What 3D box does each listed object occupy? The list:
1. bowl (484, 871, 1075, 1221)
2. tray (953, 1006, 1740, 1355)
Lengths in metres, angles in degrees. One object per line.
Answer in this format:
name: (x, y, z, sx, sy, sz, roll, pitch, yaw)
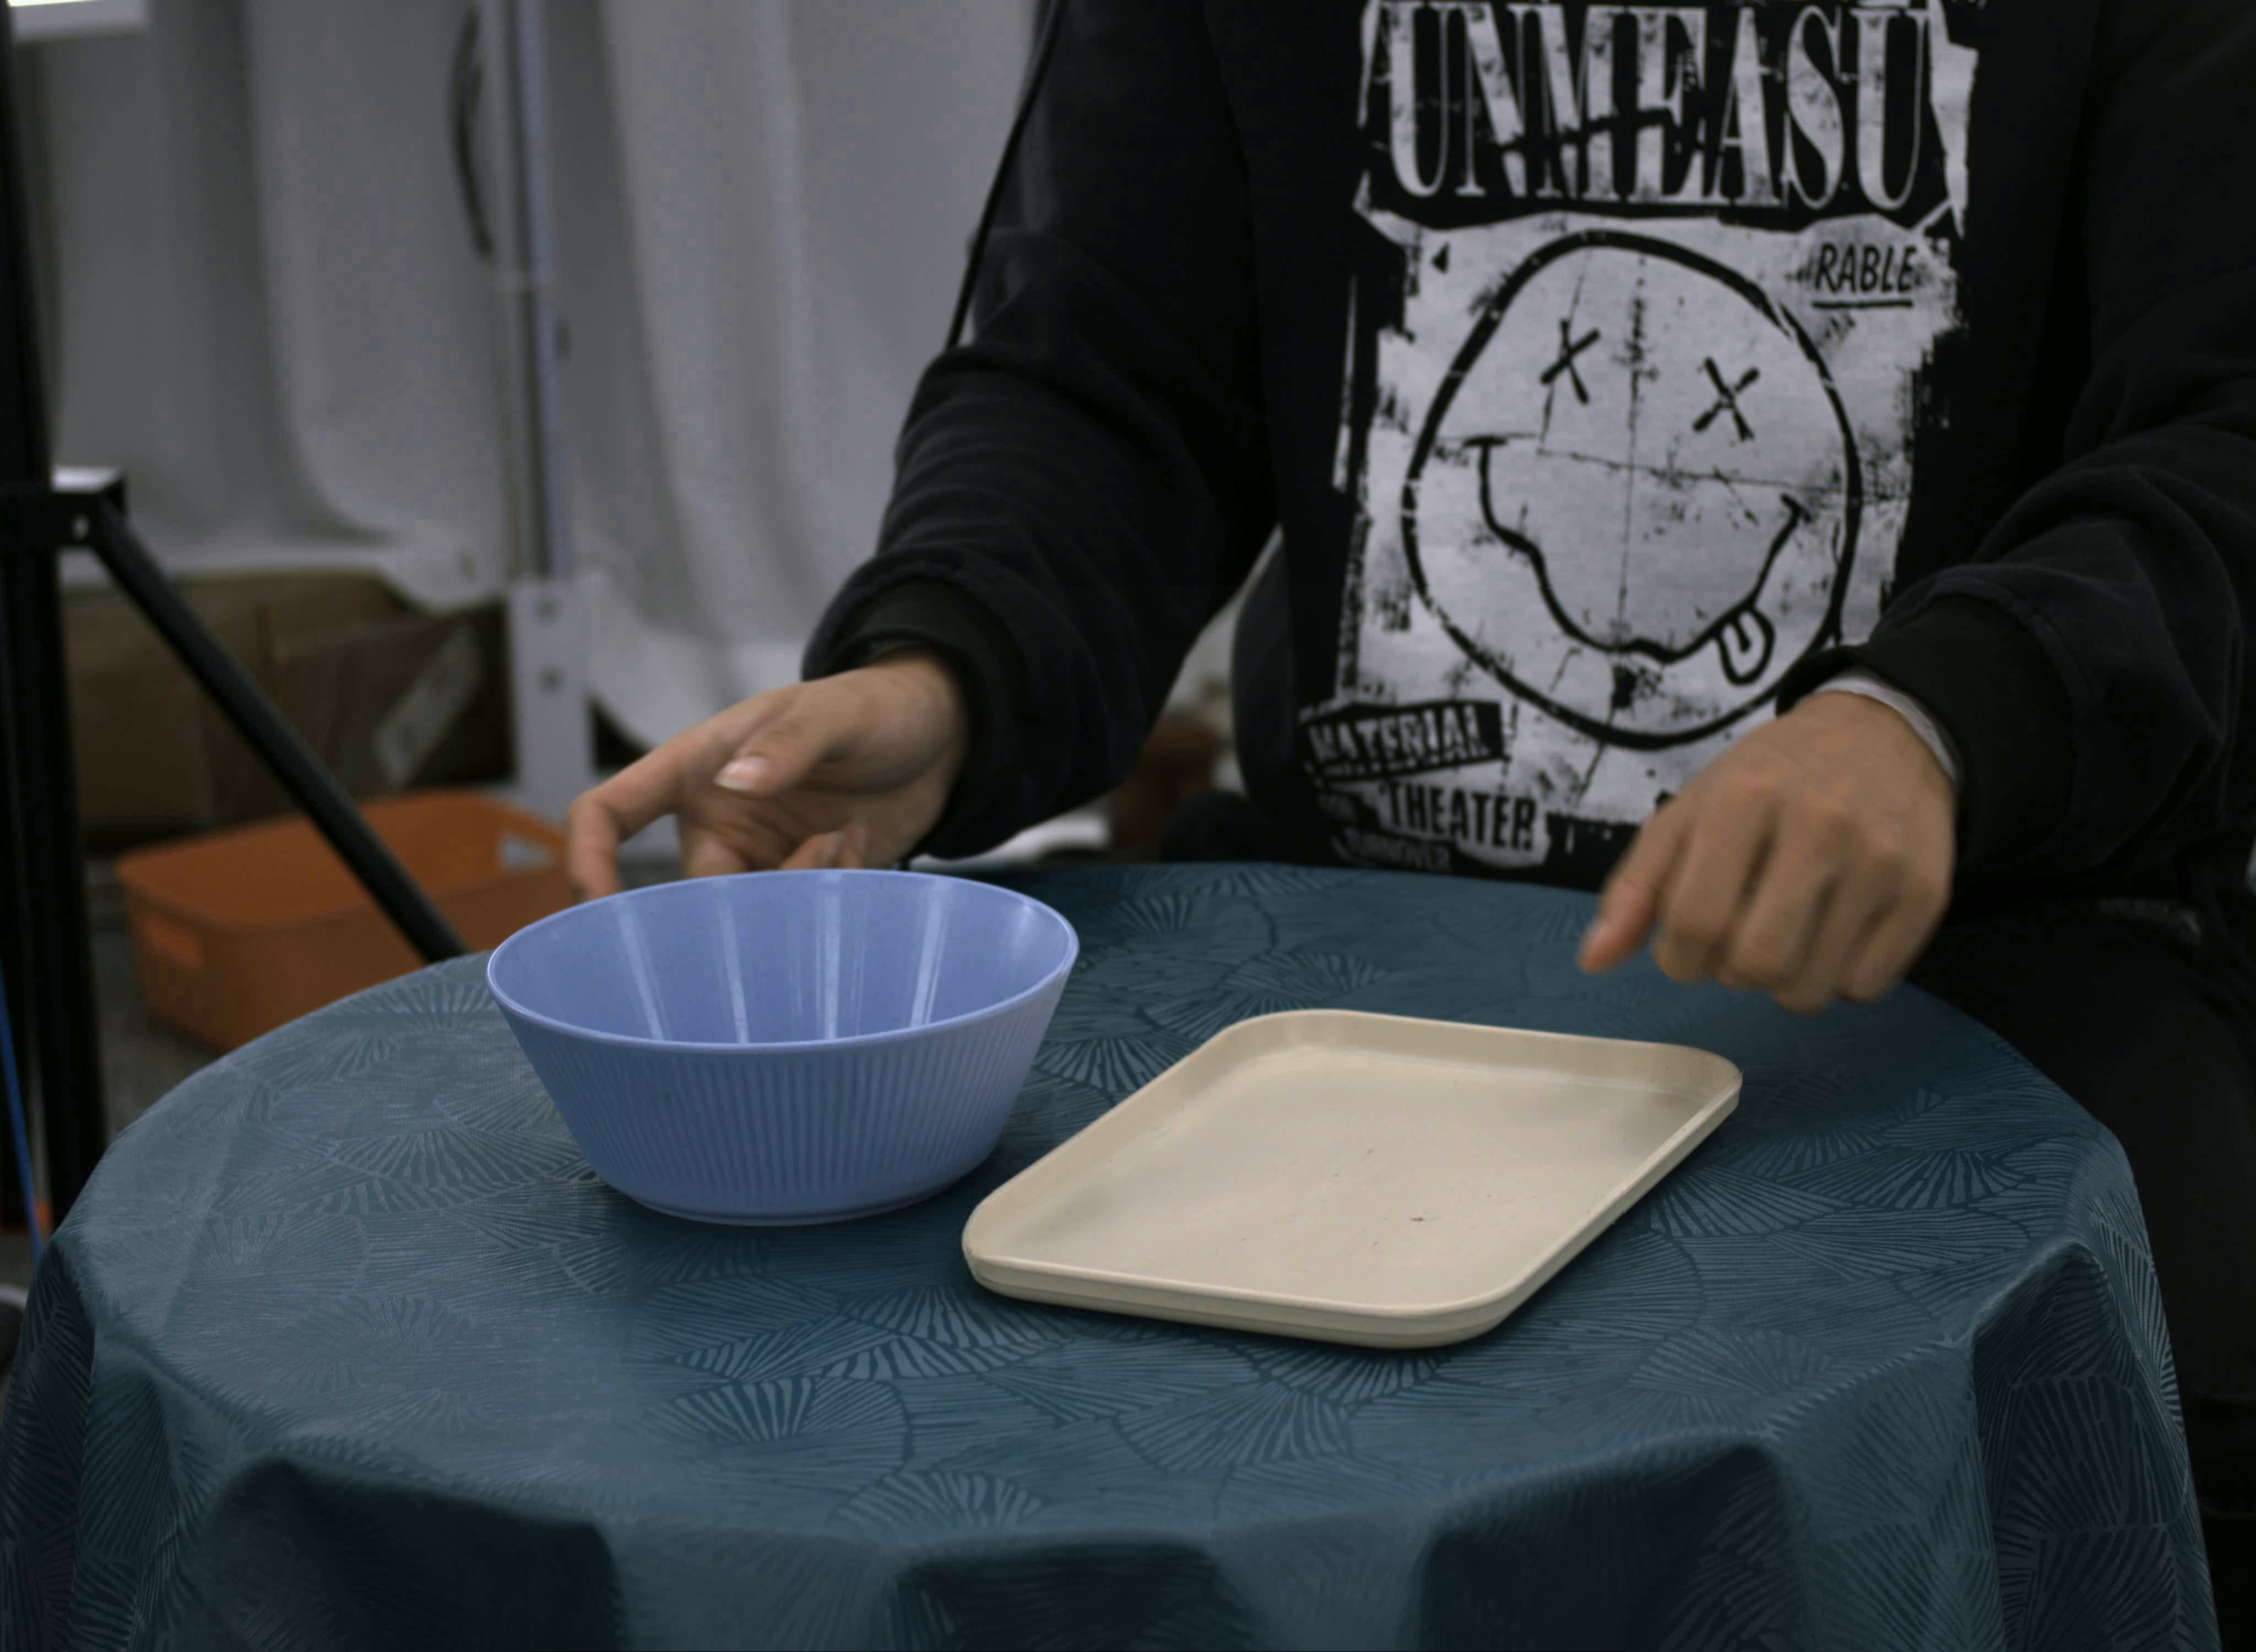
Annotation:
bowl: (-0.102, 0.068, 1.588, 0.175, 0.070, 0.177, -2, 16, -1)
tray: (0.067, 0.101, 1.538, 0.174, 0.017, 0.236, 6, 18, 26)
